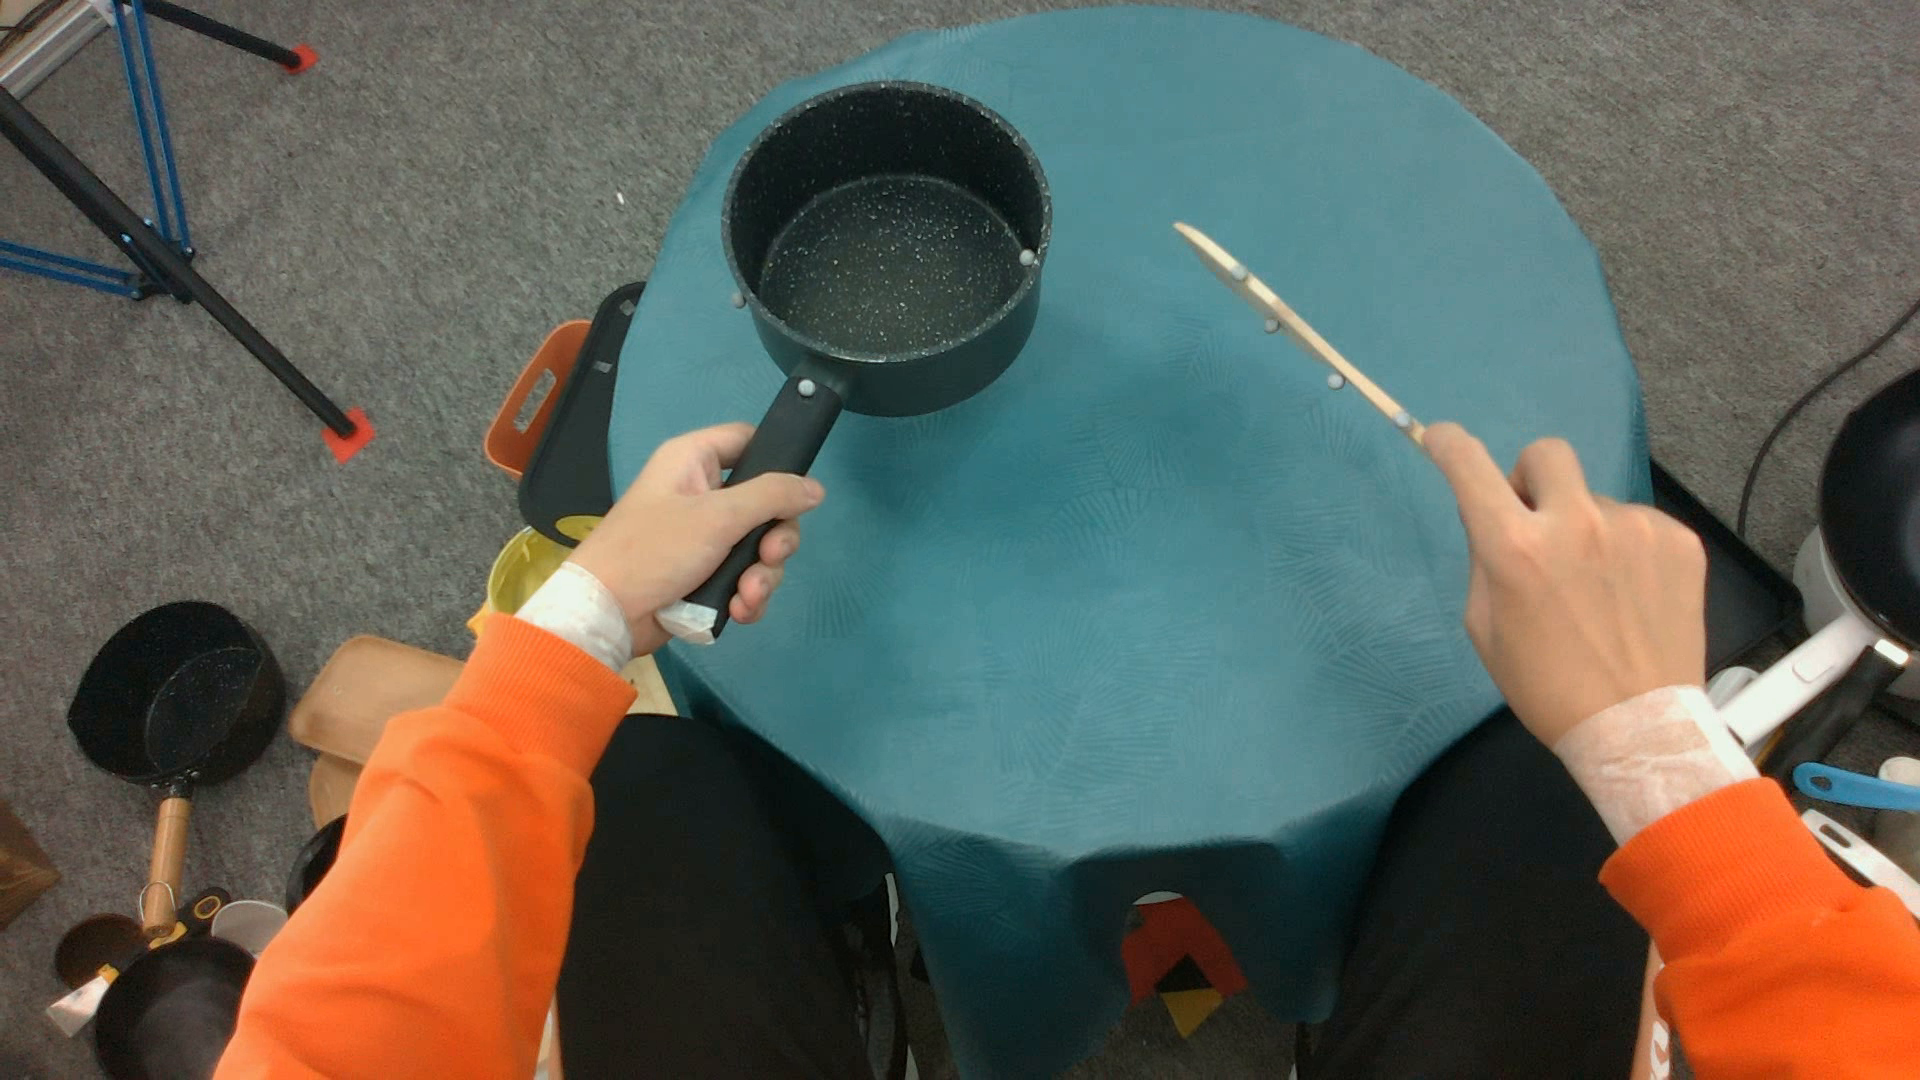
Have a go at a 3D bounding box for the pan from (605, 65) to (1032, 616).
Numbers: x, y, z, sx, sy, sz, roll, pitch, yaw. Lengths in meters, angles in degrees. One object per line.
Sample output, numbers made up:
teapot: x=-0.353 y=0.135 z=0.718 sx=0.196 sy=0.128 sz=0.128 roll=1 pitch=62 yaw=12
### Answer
pan: x=-0.079 y=-0.096 z=0.712 sx=0.172 sy=0.086 sz=0.330 roll=22 pitch=68 yaw=10

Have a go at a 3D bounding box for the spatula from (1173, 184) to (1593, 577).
spatula: x=0.197 y=-0.083 z=0.667 sx=0.010 sy=0.072 sz=0.293 roll=-40 pitch=53 yaw=6
